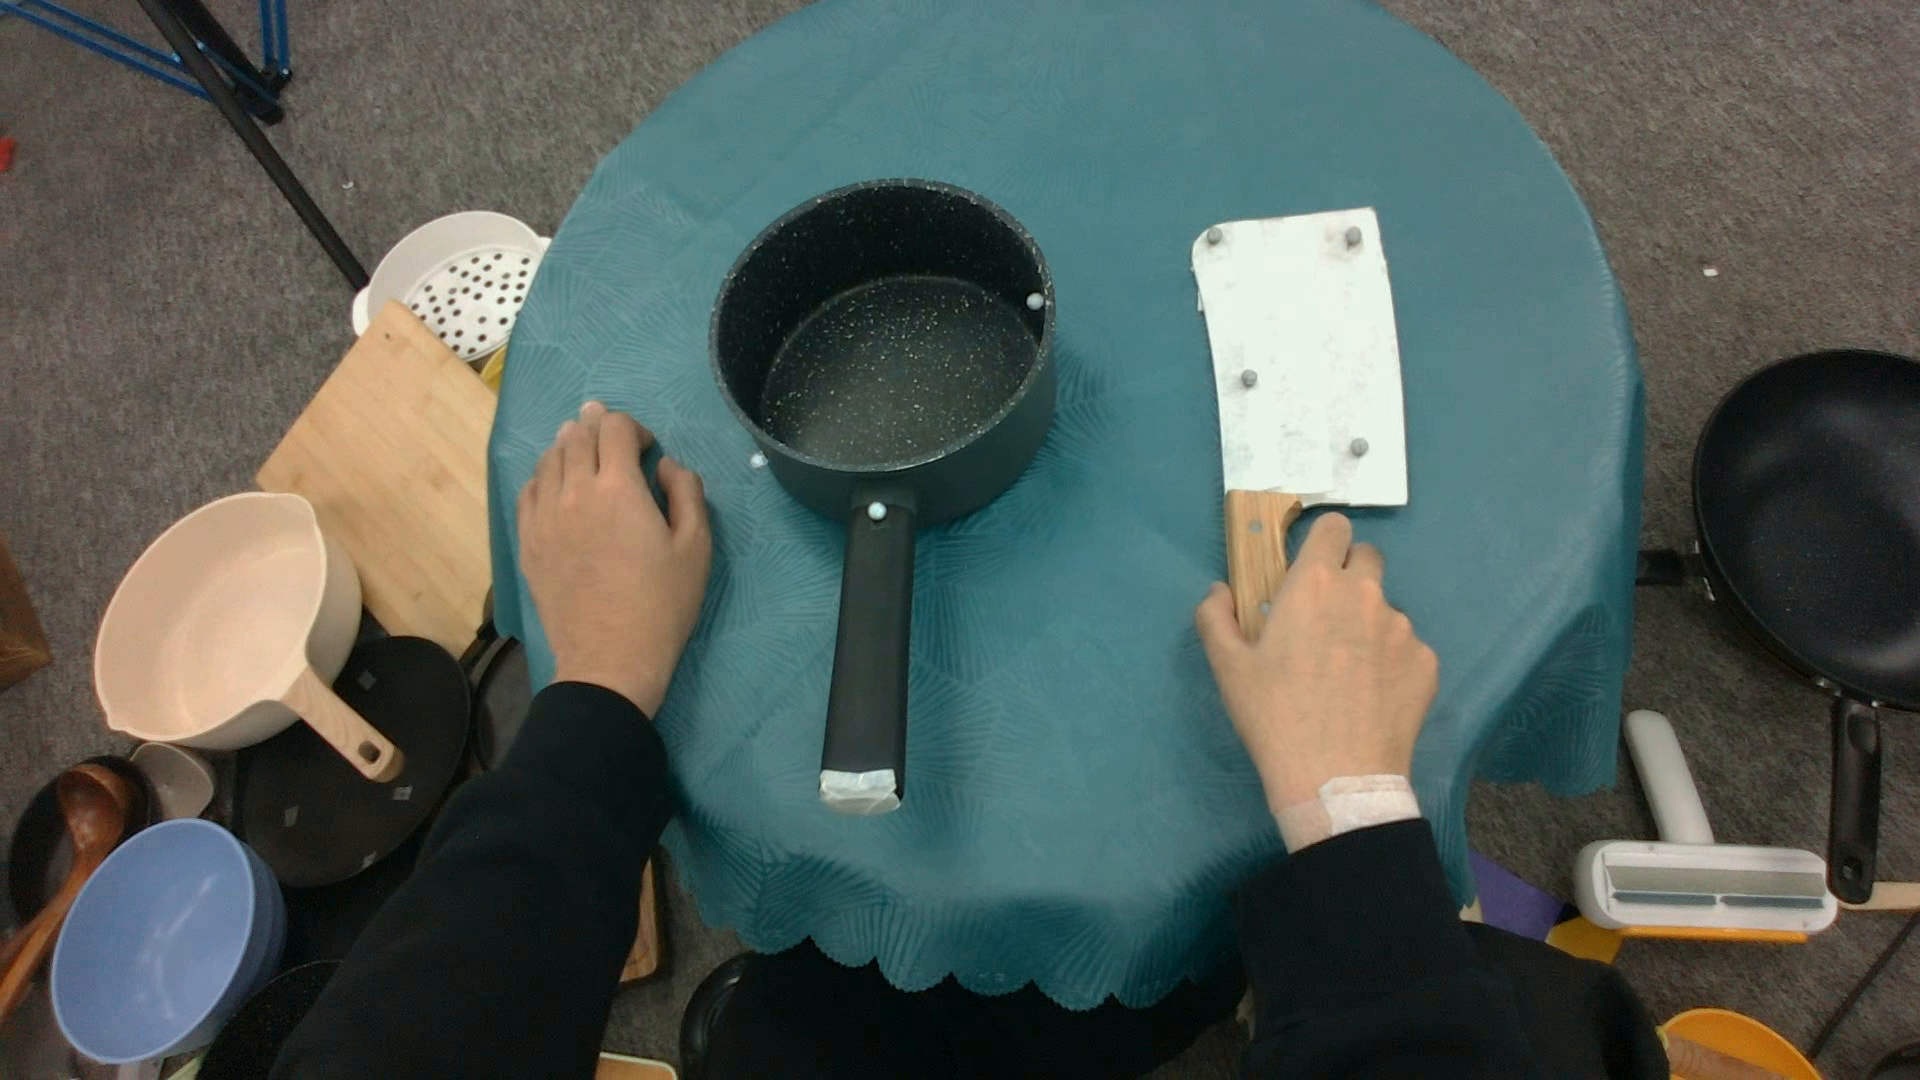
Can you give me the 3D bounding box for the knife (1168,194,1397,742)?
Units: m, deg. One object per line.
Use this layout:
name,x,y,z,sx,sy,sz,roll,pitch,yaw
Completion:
knife,0.157,-0.051,0.681,0.114,0.021,0.316,2,61,8

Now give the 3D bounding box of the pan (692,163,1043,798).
pan,-0.044,-0.029,0.660,0.172,0.086,0.330,-1,63,9
